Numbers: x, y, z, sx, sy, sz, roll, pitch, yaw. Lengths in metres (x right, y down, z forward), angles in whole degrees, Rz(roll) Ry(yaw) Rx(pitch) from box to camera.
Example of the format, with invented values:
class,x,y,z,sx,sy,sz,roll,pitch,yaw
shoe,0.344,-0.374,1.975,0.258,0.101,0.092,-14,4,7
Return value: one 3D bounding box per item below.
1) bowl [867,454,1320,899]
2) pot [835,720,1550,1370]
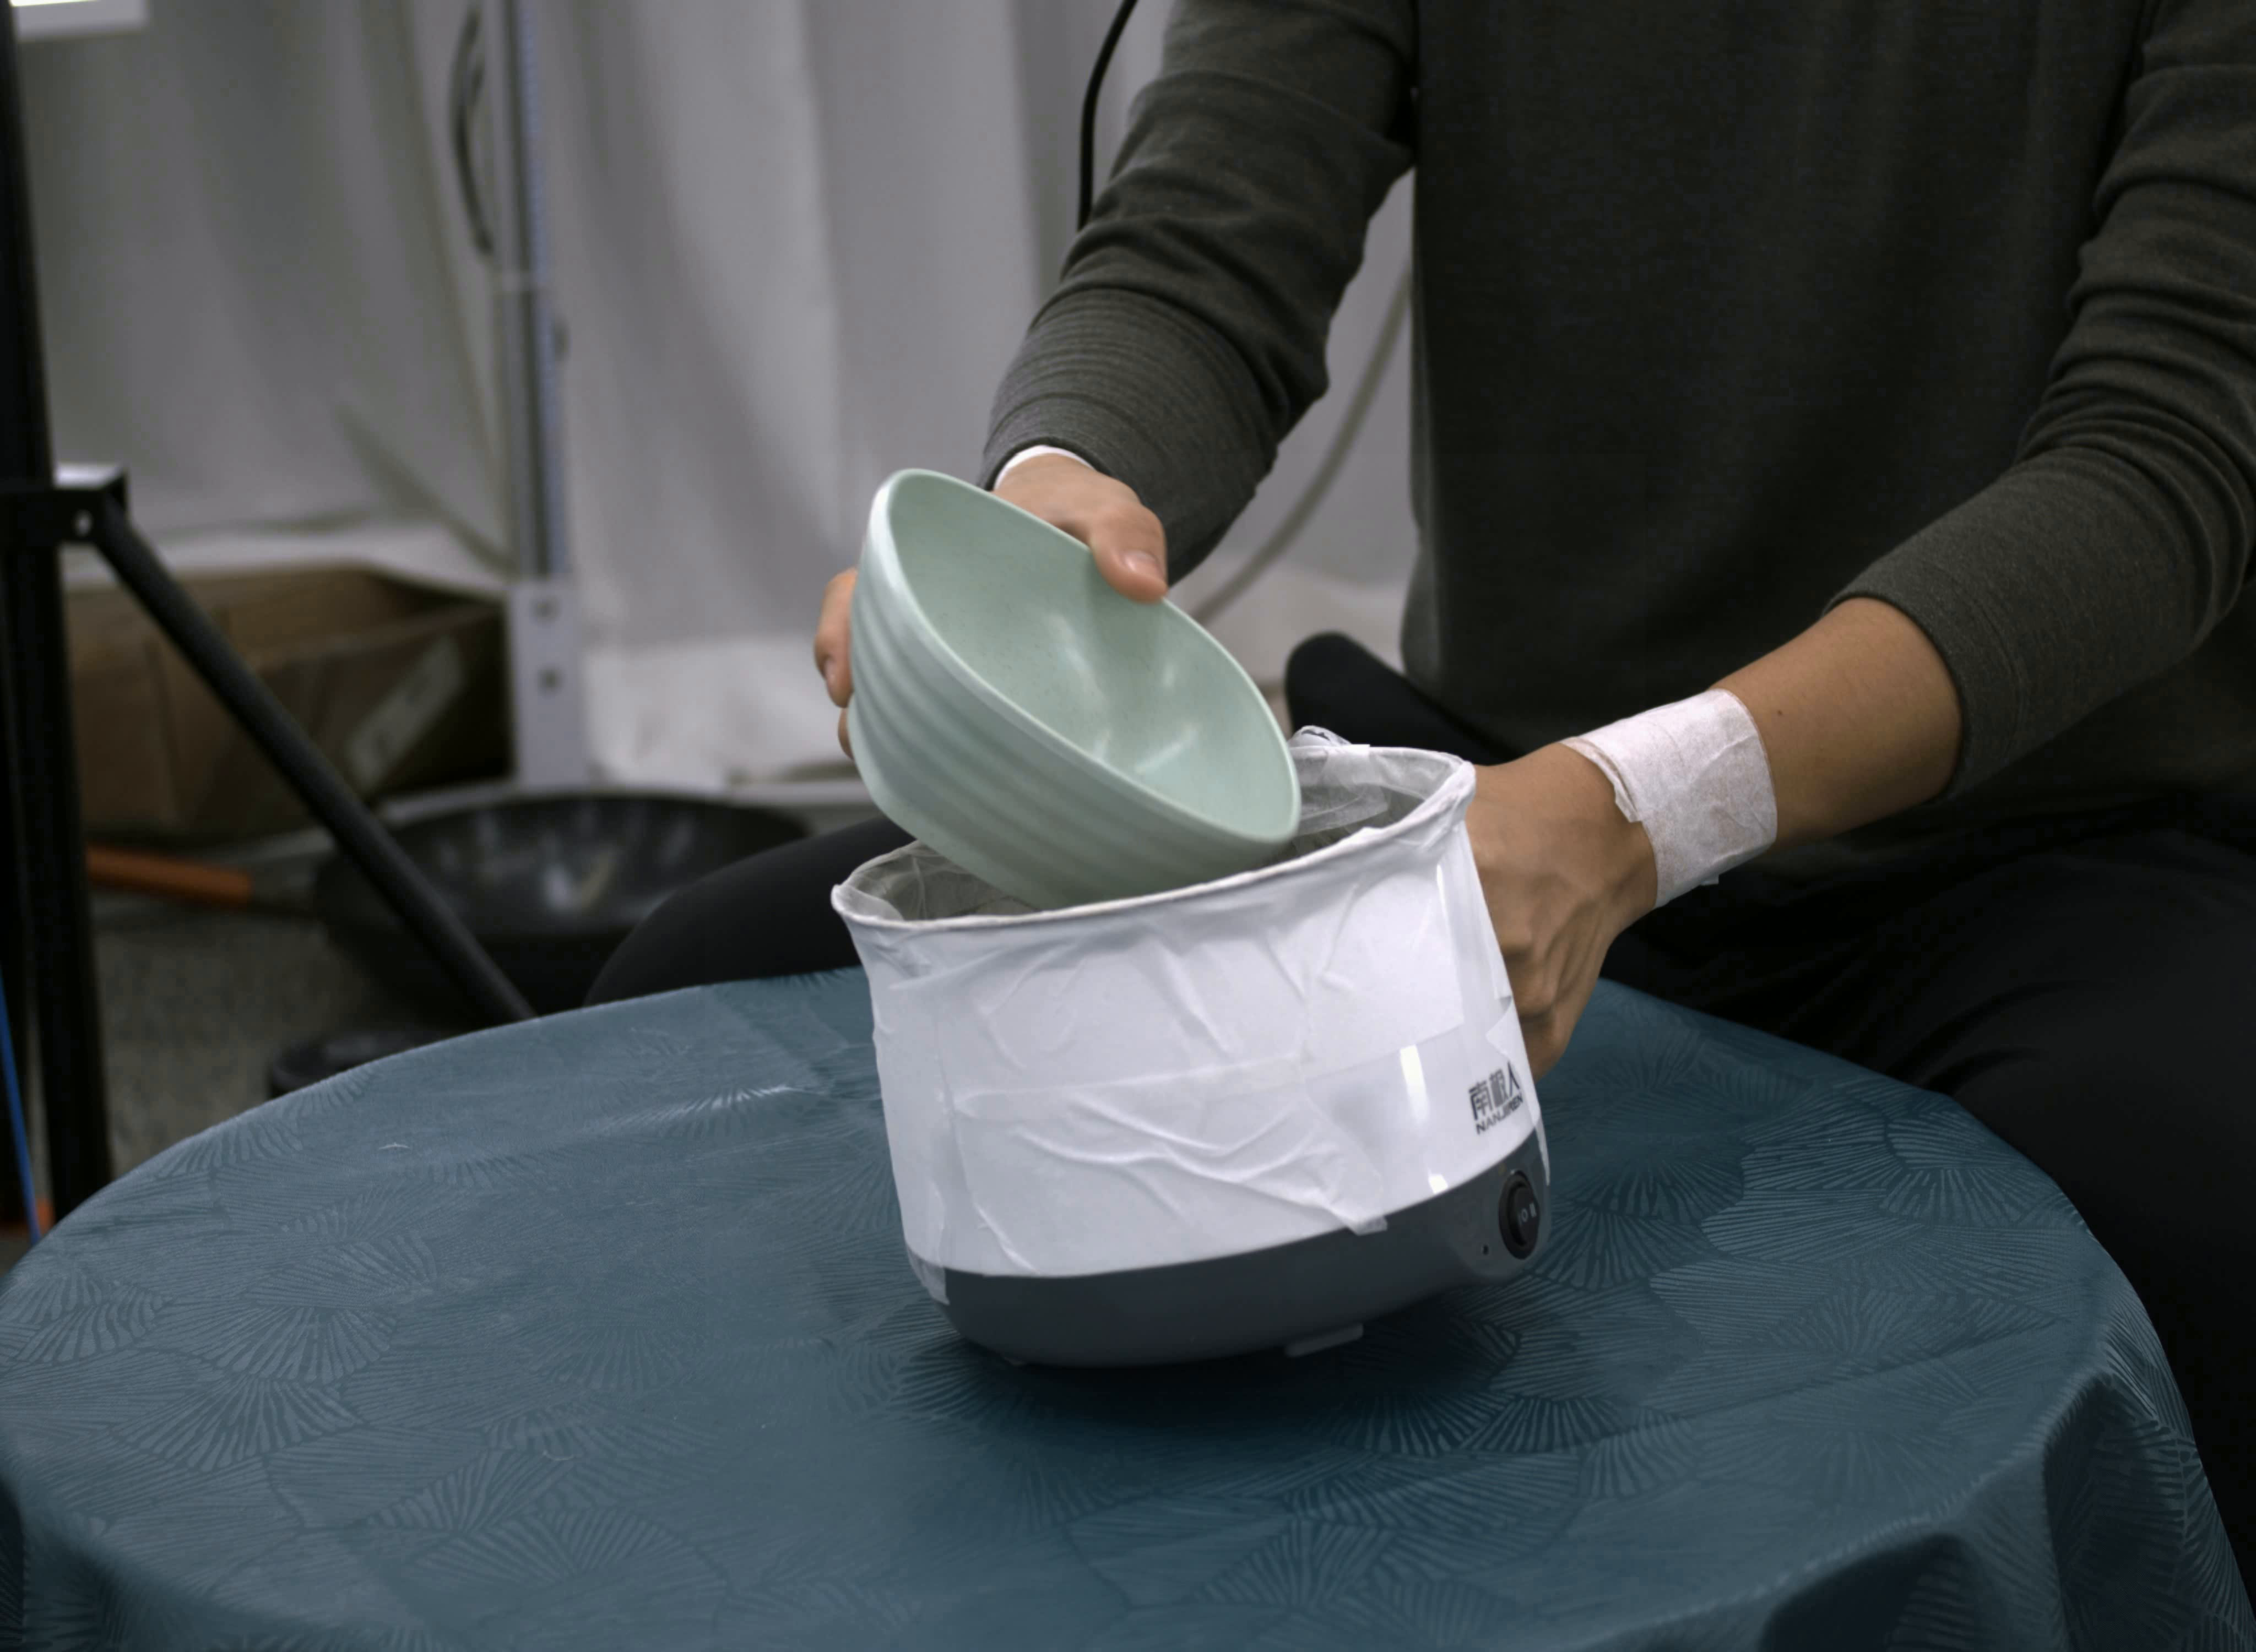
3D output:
class,x,y,z,sx,sy,sz,roll,pitch,yaw
bowl,-0.020,-0.029,1.444,0.149,0.059,0.153,29,28,-18
pot,0.031,0.055,1.460,0.181,0.136,0.230,-5,12,29
